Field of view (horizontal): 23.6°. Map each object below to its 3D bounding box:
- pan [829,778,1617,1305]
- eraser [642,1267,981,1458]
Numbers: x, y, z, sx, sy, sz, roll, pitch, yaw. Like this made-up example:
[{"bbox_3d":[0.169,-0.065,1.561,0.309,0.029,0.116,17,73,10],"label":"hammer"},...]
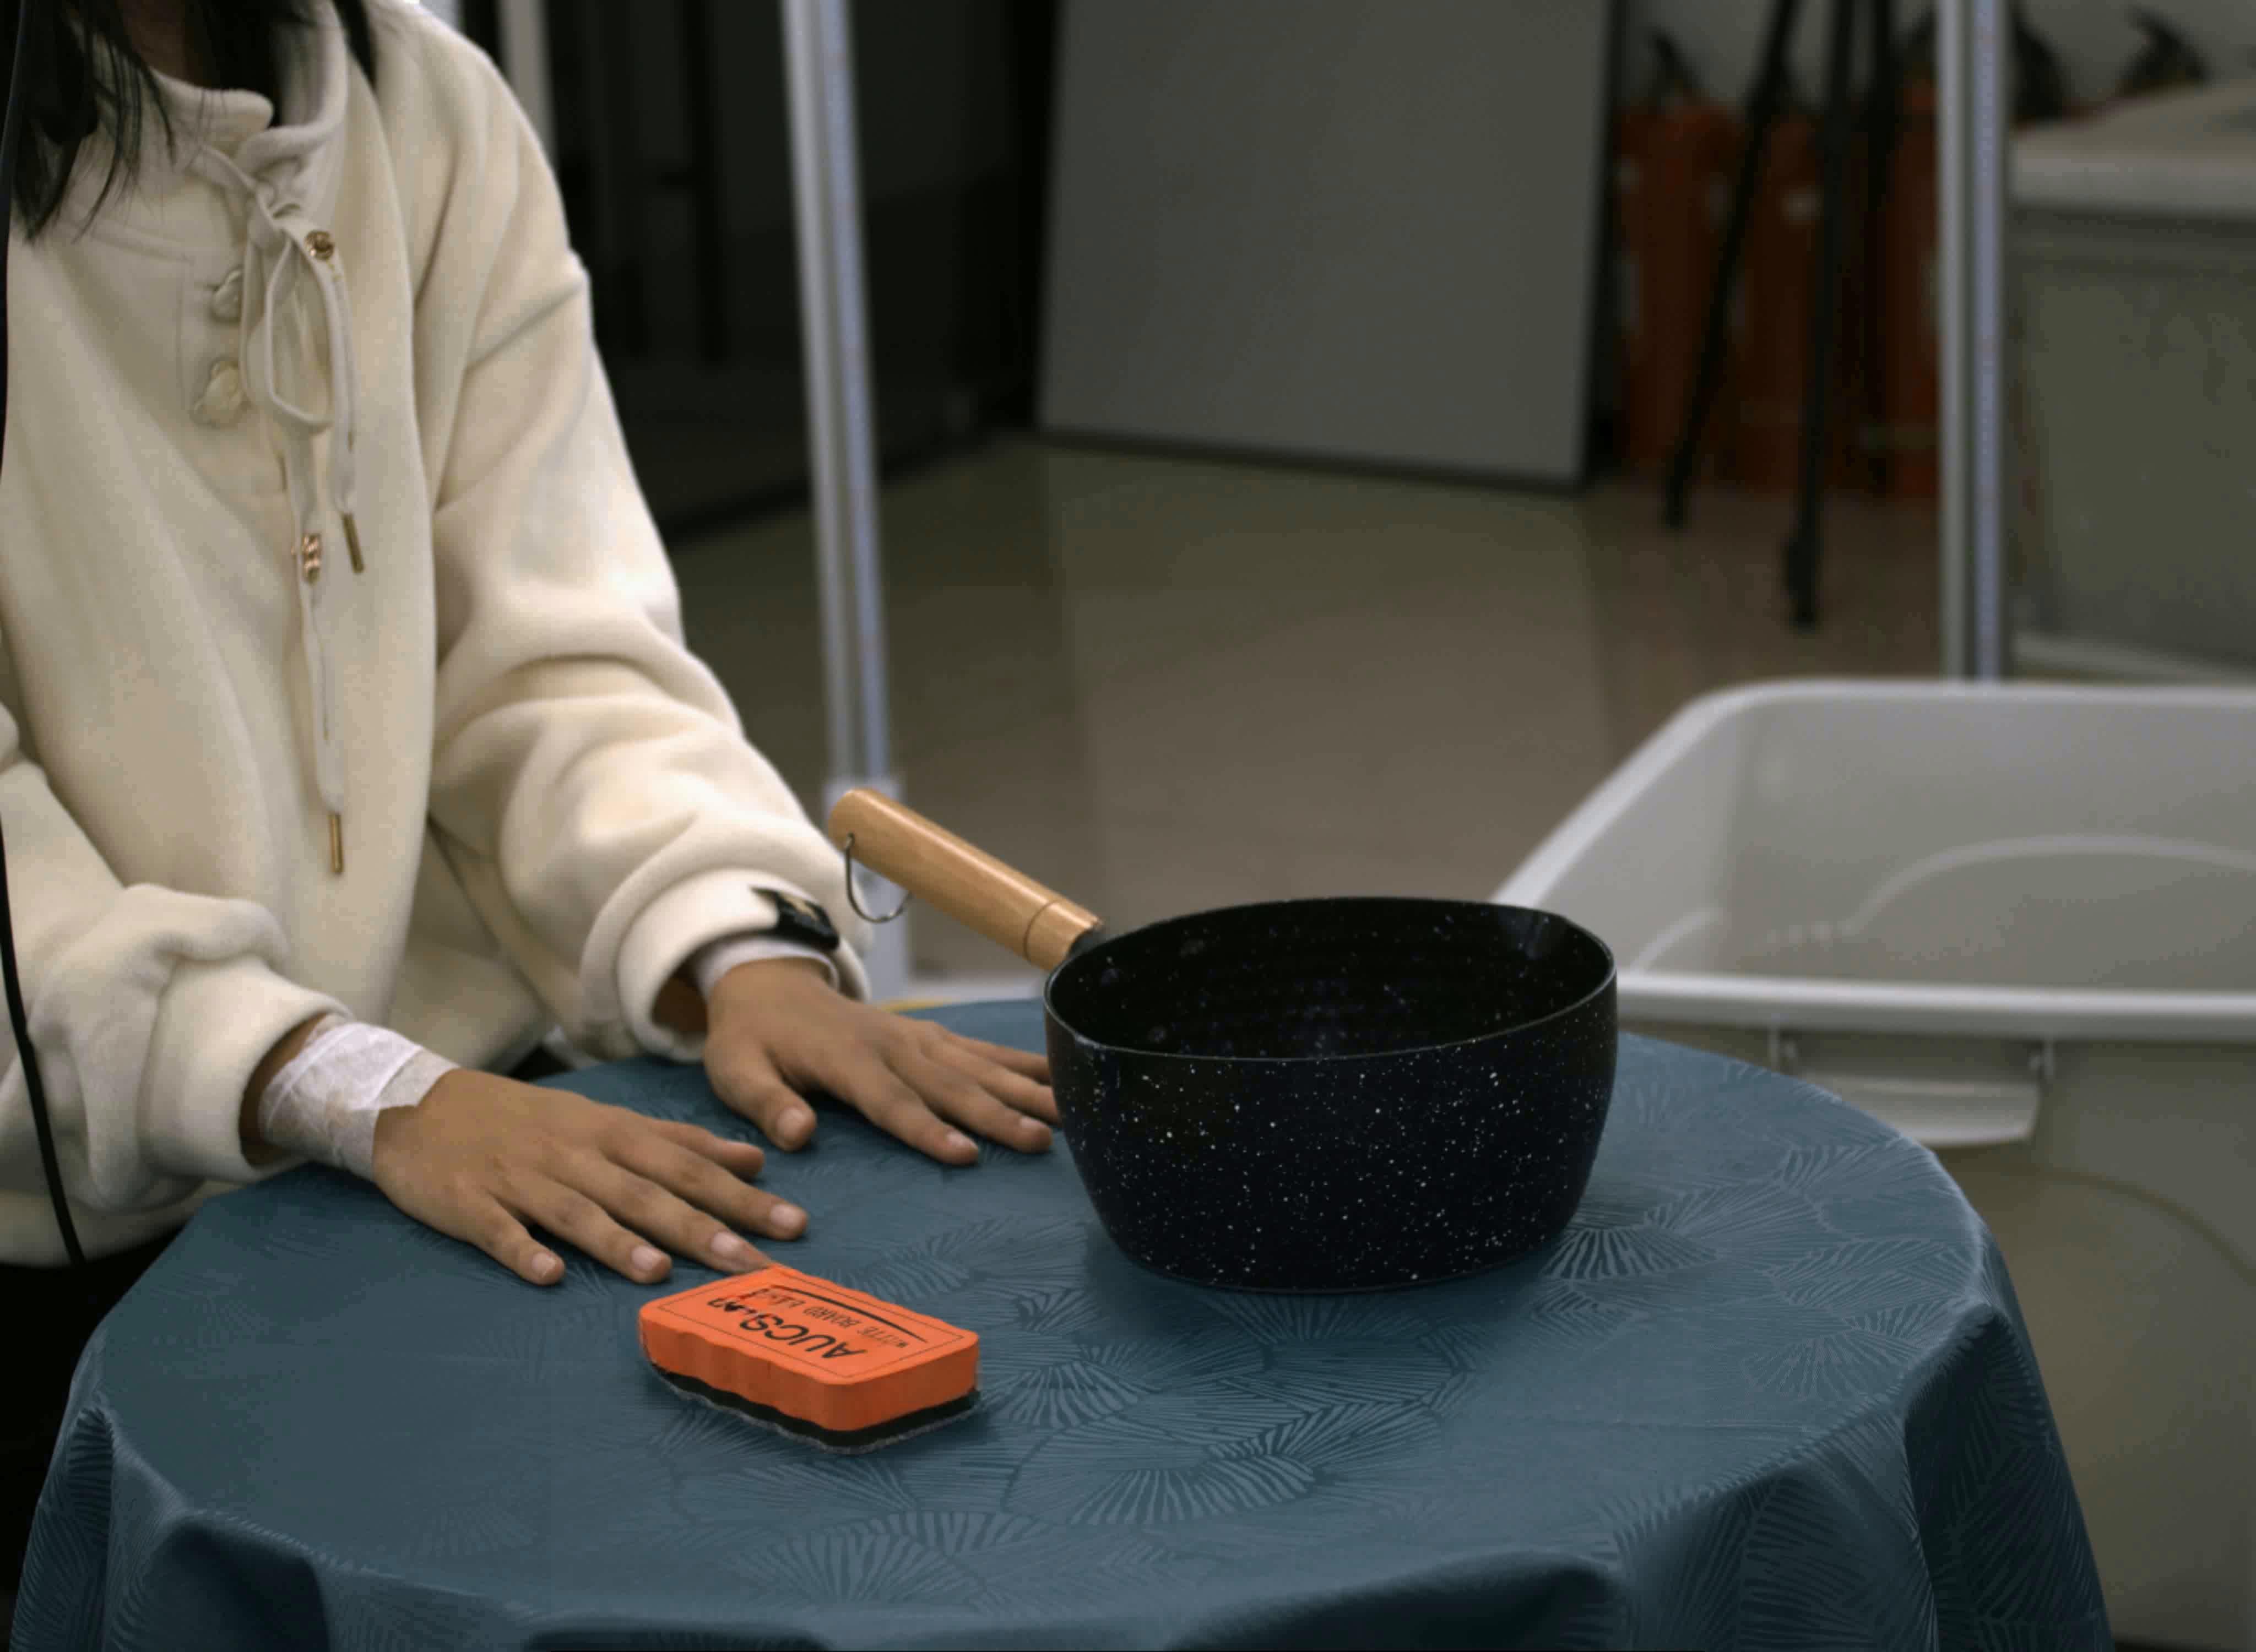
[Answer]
[{"bbox_3d":[0.013,0.064,1.772,0.203,0.109,0.346,-17,20,-38],"label":"pan"},{"bbox_3d":[-0.094,0.158,1.599,0.058,0.023,0.109,-15,17,-36],"label":"eraser"}]
